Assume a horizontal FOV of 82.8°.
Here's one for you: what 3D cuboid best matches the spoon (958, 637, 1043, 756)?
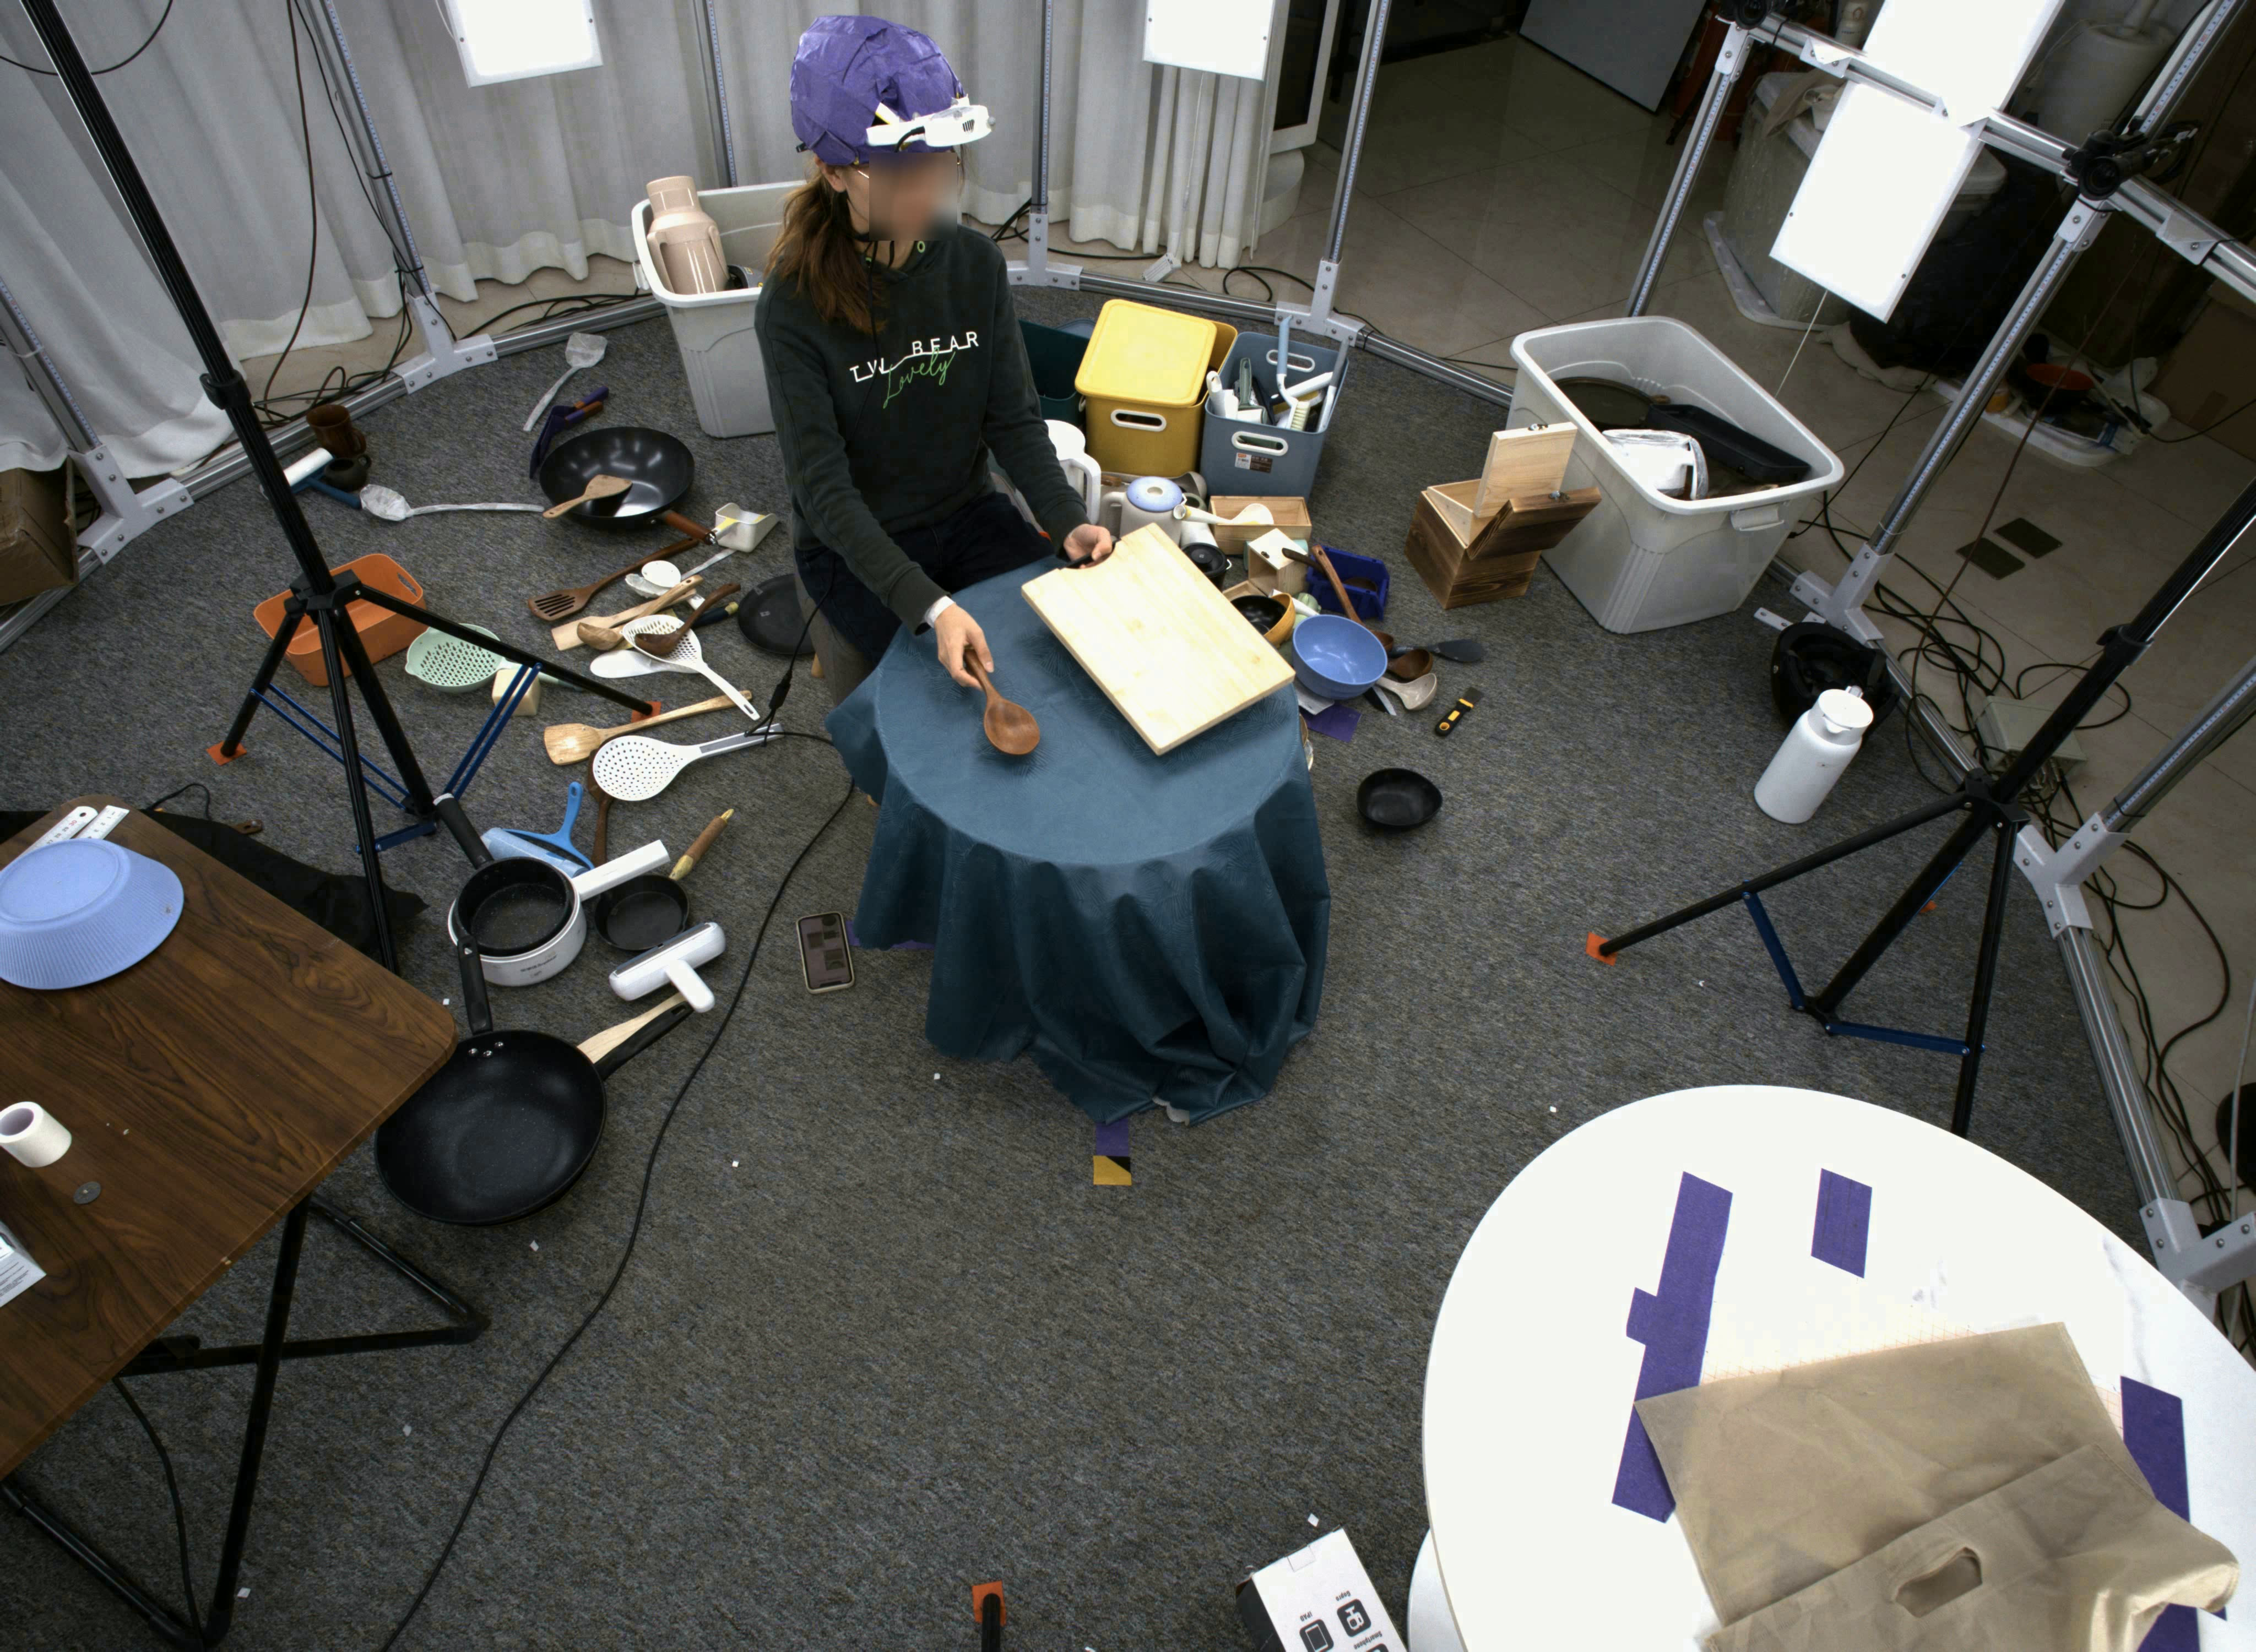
[{"bbox_3d":[-0.185,-0.180,1.776,0.075,0.017,0.220,-19,62,-20],"label":"spoon"}]

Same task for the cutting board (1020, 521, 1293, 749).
[{"bbox_3d":[0.037,-0.282,1.850,0.252,0.023,0.354,-30,63,-22],"label":"cutting board"}]
